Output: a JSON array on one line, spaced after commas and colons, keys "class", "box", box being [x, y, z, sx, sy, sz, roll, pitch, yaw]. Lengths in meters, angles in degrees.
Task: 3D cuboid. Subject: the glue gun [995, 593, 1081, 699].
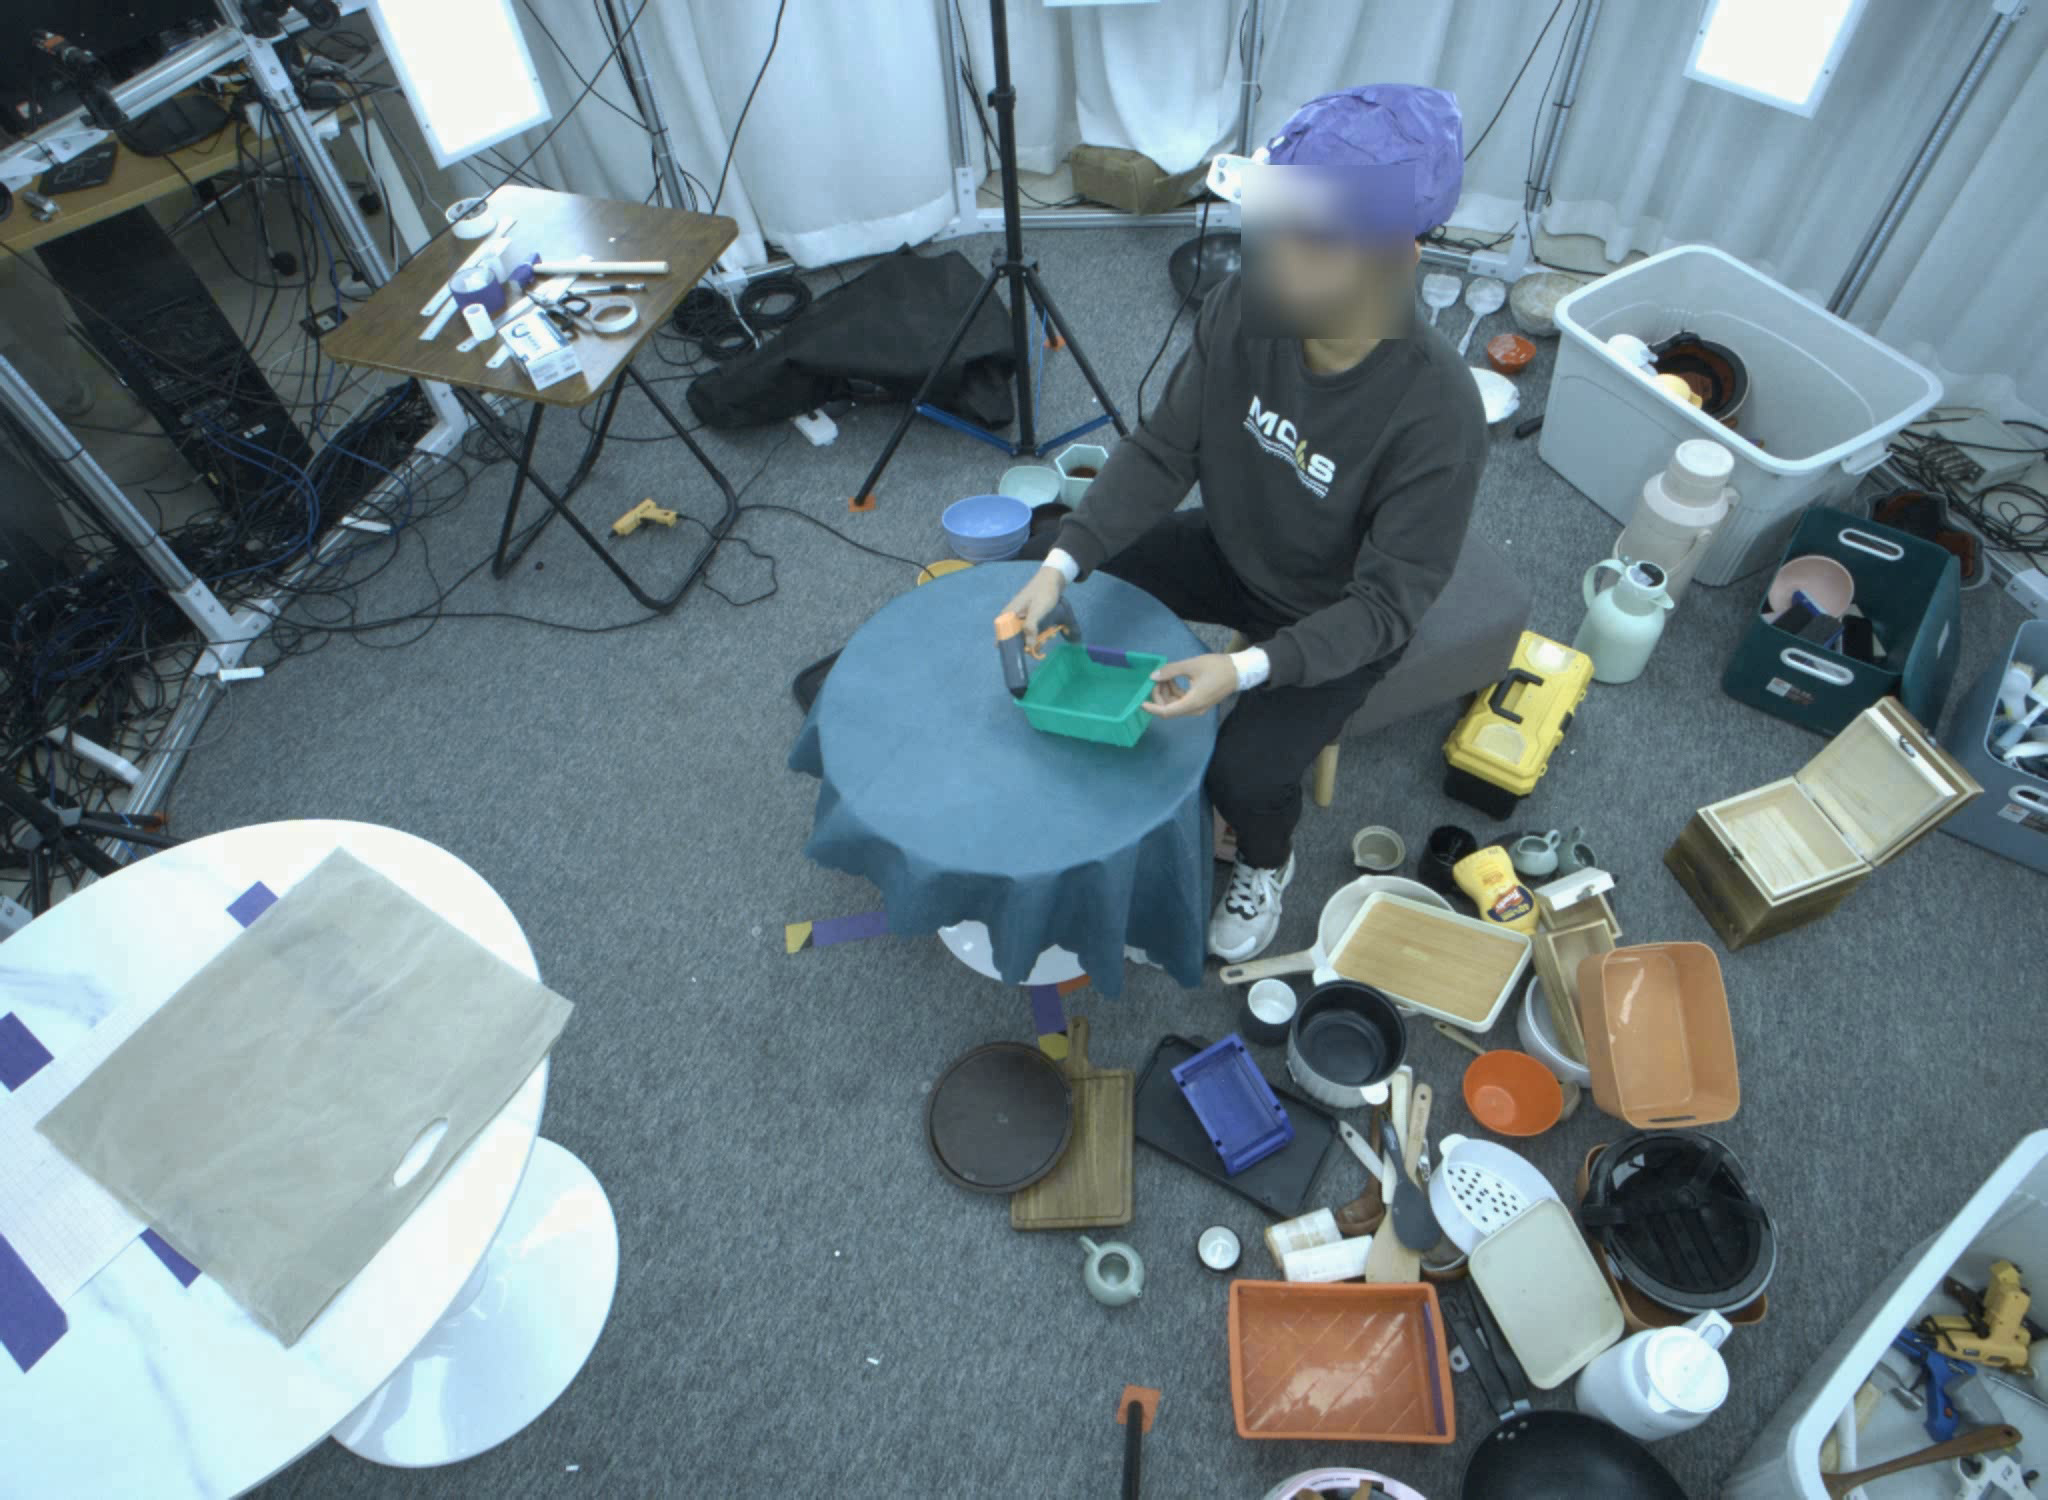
[{"class": "glue gun", "box": [0.015, -0.155, 1.773, 0.141, 0.120, 0.040, -38, 32, -26]}]

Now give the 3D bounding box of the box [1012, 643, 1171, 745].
[{"class": "box", "box": [0.100, -0.079, 1.764, 0.206, 0.066, 0.139, 10, 50, 39]}]
